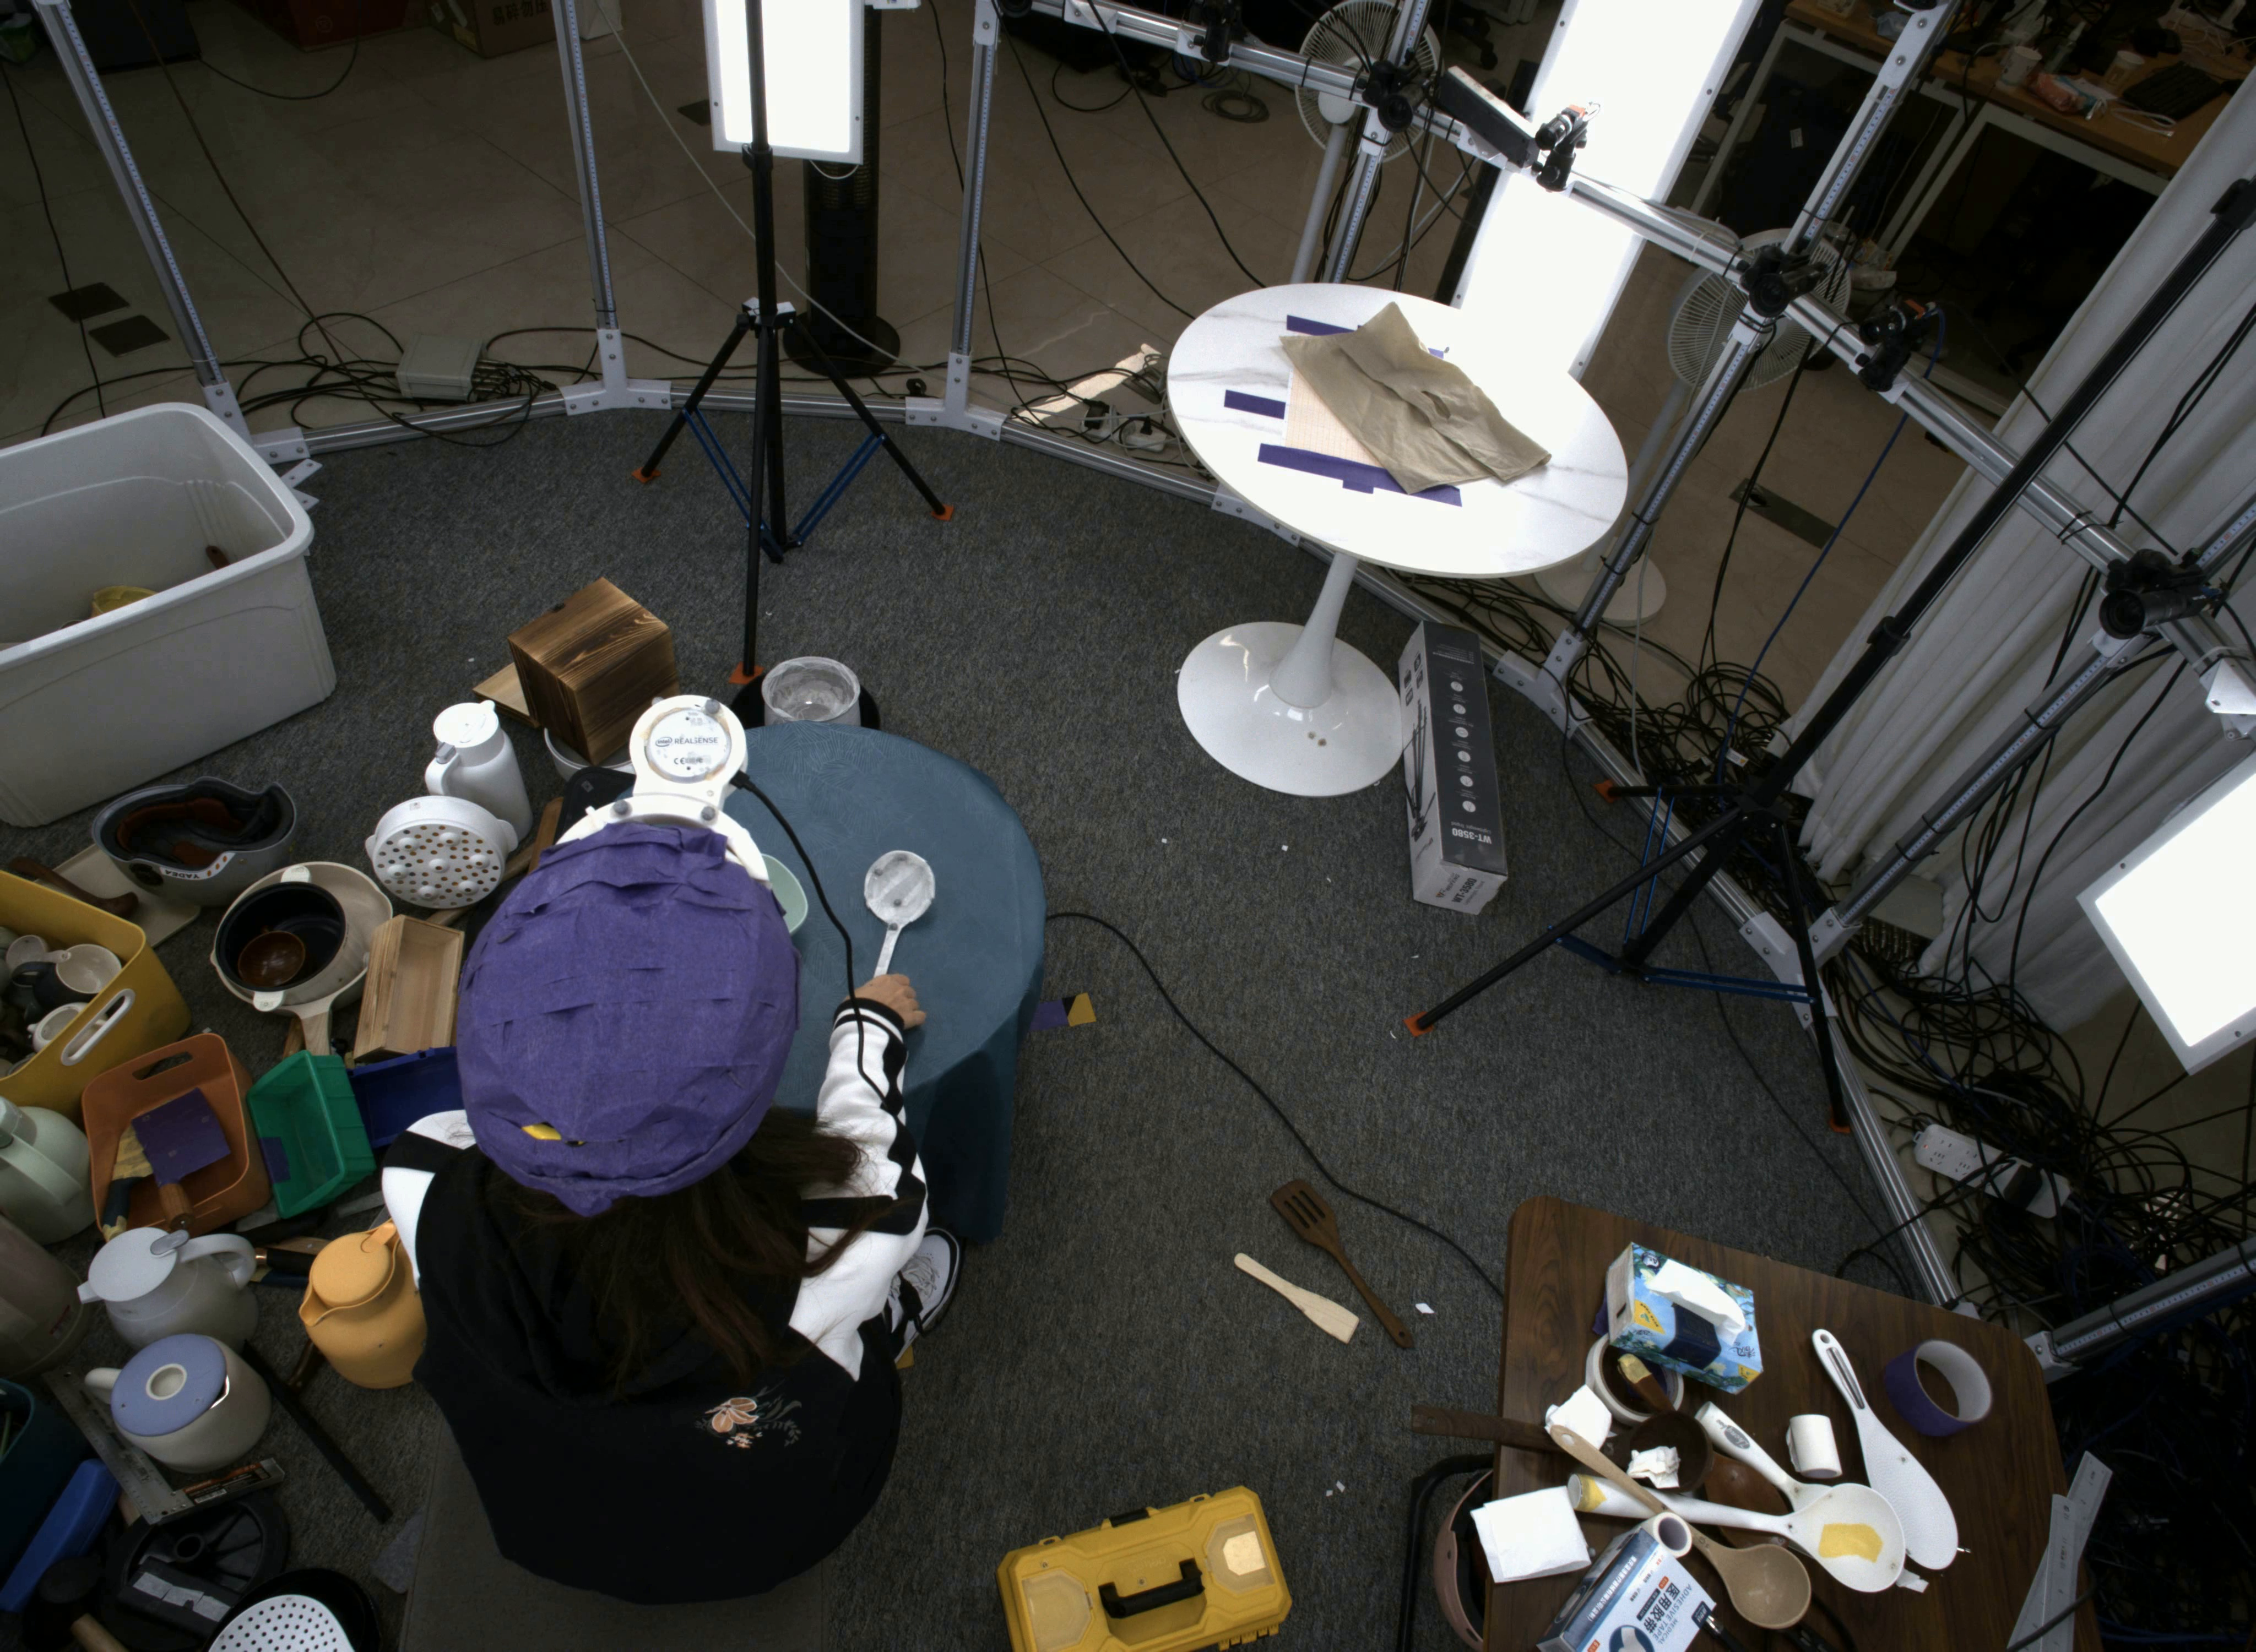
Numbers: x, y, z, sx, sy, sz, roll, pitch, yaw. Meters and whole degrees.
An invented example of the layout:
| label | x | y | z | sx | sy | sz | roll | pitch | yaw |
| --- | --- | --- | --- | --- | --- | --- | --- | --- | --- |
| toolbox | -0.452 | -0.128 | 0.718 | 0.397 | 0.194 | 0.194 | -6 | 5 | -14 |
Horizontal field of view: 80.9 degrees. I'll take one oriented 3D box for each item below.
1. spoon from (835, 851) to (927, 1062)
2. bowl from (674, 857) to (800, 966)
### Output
| label | x | y | z | sx | sy | sz | roll | pitch | yaw |
| --- | --- | --- | --- | --- | --- | --- | --- | --- | --- |
| spoon | -0.322 | 0.152 | 1.595 | 0.098 | 0.061 | 0.274 | 6 | 51 | 10 |
| bowl | -0.478 | 0.113 | 1.586 | 0.151 | 0.060 | 0.149 | 8 | 52 | -8 |
